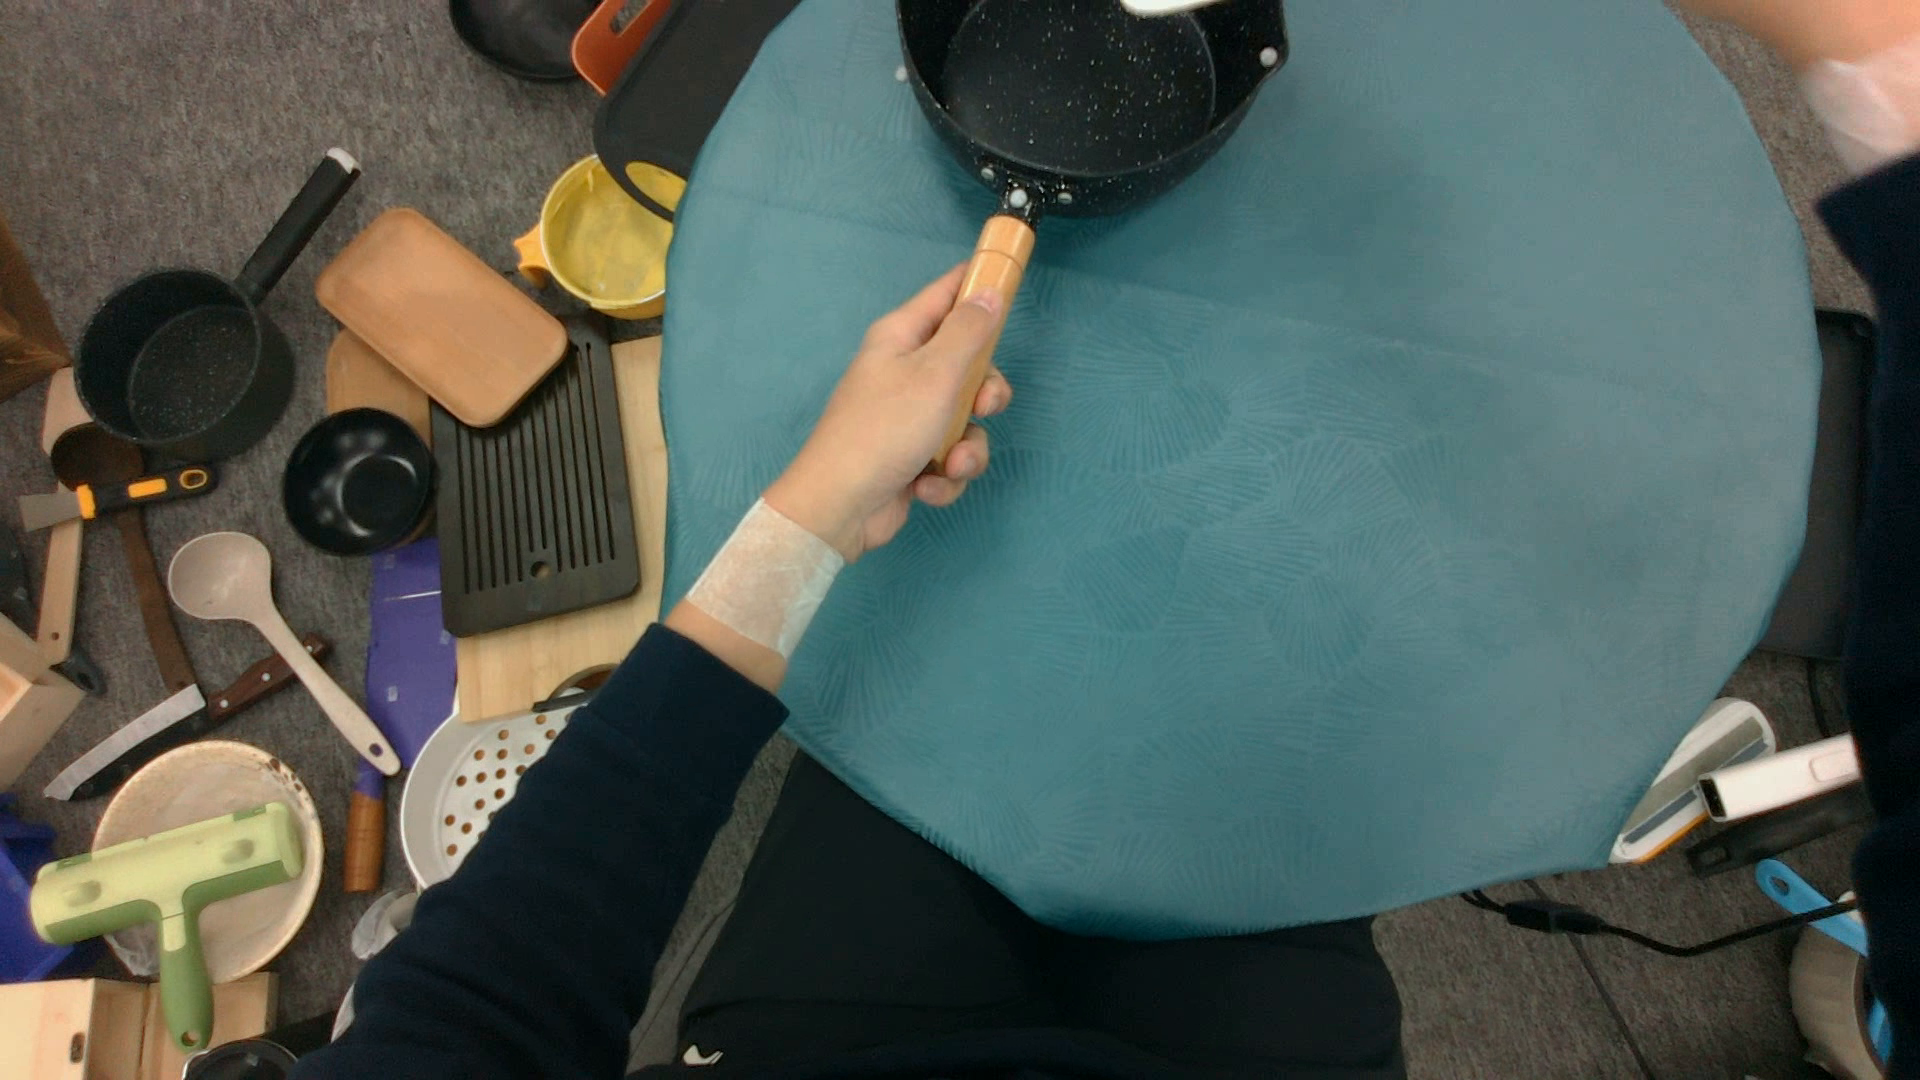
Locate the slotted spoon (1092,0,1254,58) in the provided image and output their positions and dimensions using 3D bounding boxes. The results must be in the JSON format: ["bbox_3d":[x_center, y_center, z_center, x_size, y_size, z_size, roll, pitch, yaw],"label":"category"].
[{"bbox_3d":[0.139,-0.234,0.491,0.050,0.348,0.136,25,98,-18],"label":"slotted spoon"}]

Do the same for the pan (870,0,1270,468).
[{"bbox_3d":[0.031,-0.182,0.681,0.207,0.108,0.343,16,78,4],"label":"pan"}]
